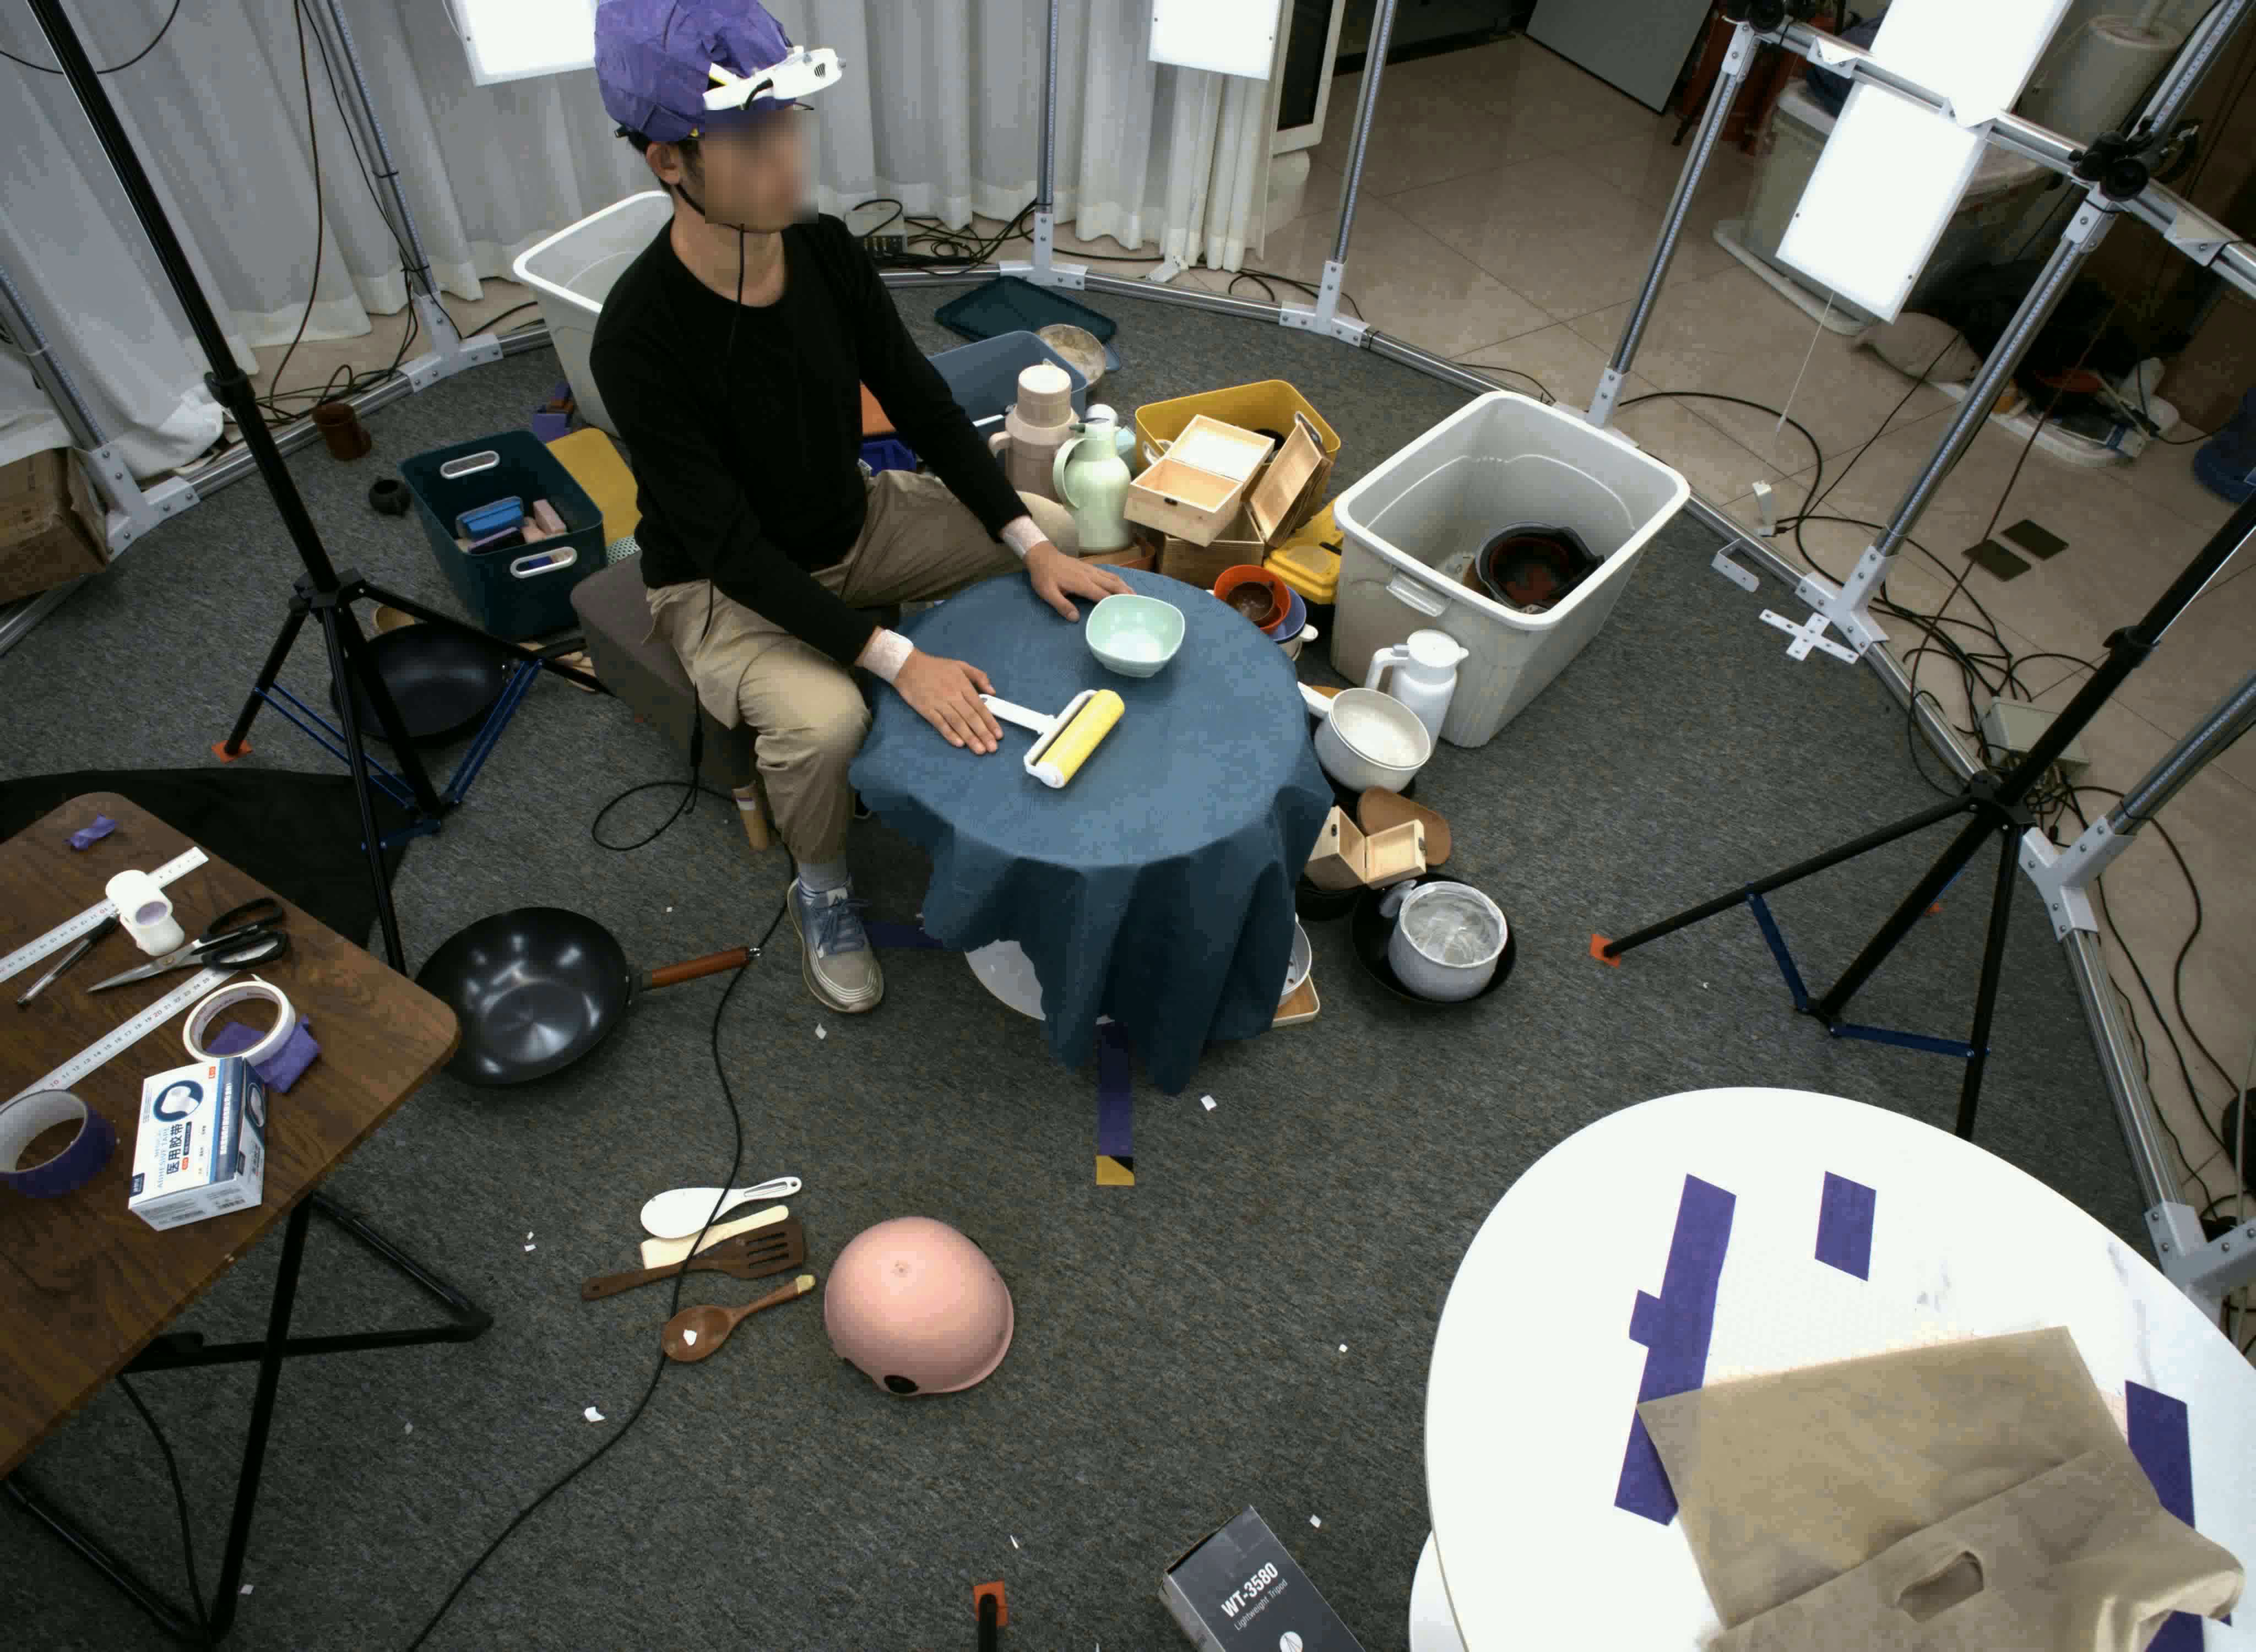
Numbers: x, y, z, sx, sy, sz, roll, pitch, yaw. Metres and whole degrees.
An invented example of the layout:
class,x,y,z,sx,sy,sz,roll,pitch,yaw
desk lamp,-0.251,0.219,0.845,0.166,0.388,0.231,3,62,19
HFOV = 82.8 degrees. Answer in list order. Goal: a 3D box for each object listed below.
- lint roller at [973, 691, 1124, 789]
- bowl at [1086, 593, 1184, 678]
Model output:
class,x,y,z,sx,sy,sz,roll,pitch,yaw
lint roller,-0.127,-0.148,1.756,0.193,0.050,0.177,27,52,12
bowl,0.008,-0.268,1.866,0.151,0.057,0.155,3,50,-4
